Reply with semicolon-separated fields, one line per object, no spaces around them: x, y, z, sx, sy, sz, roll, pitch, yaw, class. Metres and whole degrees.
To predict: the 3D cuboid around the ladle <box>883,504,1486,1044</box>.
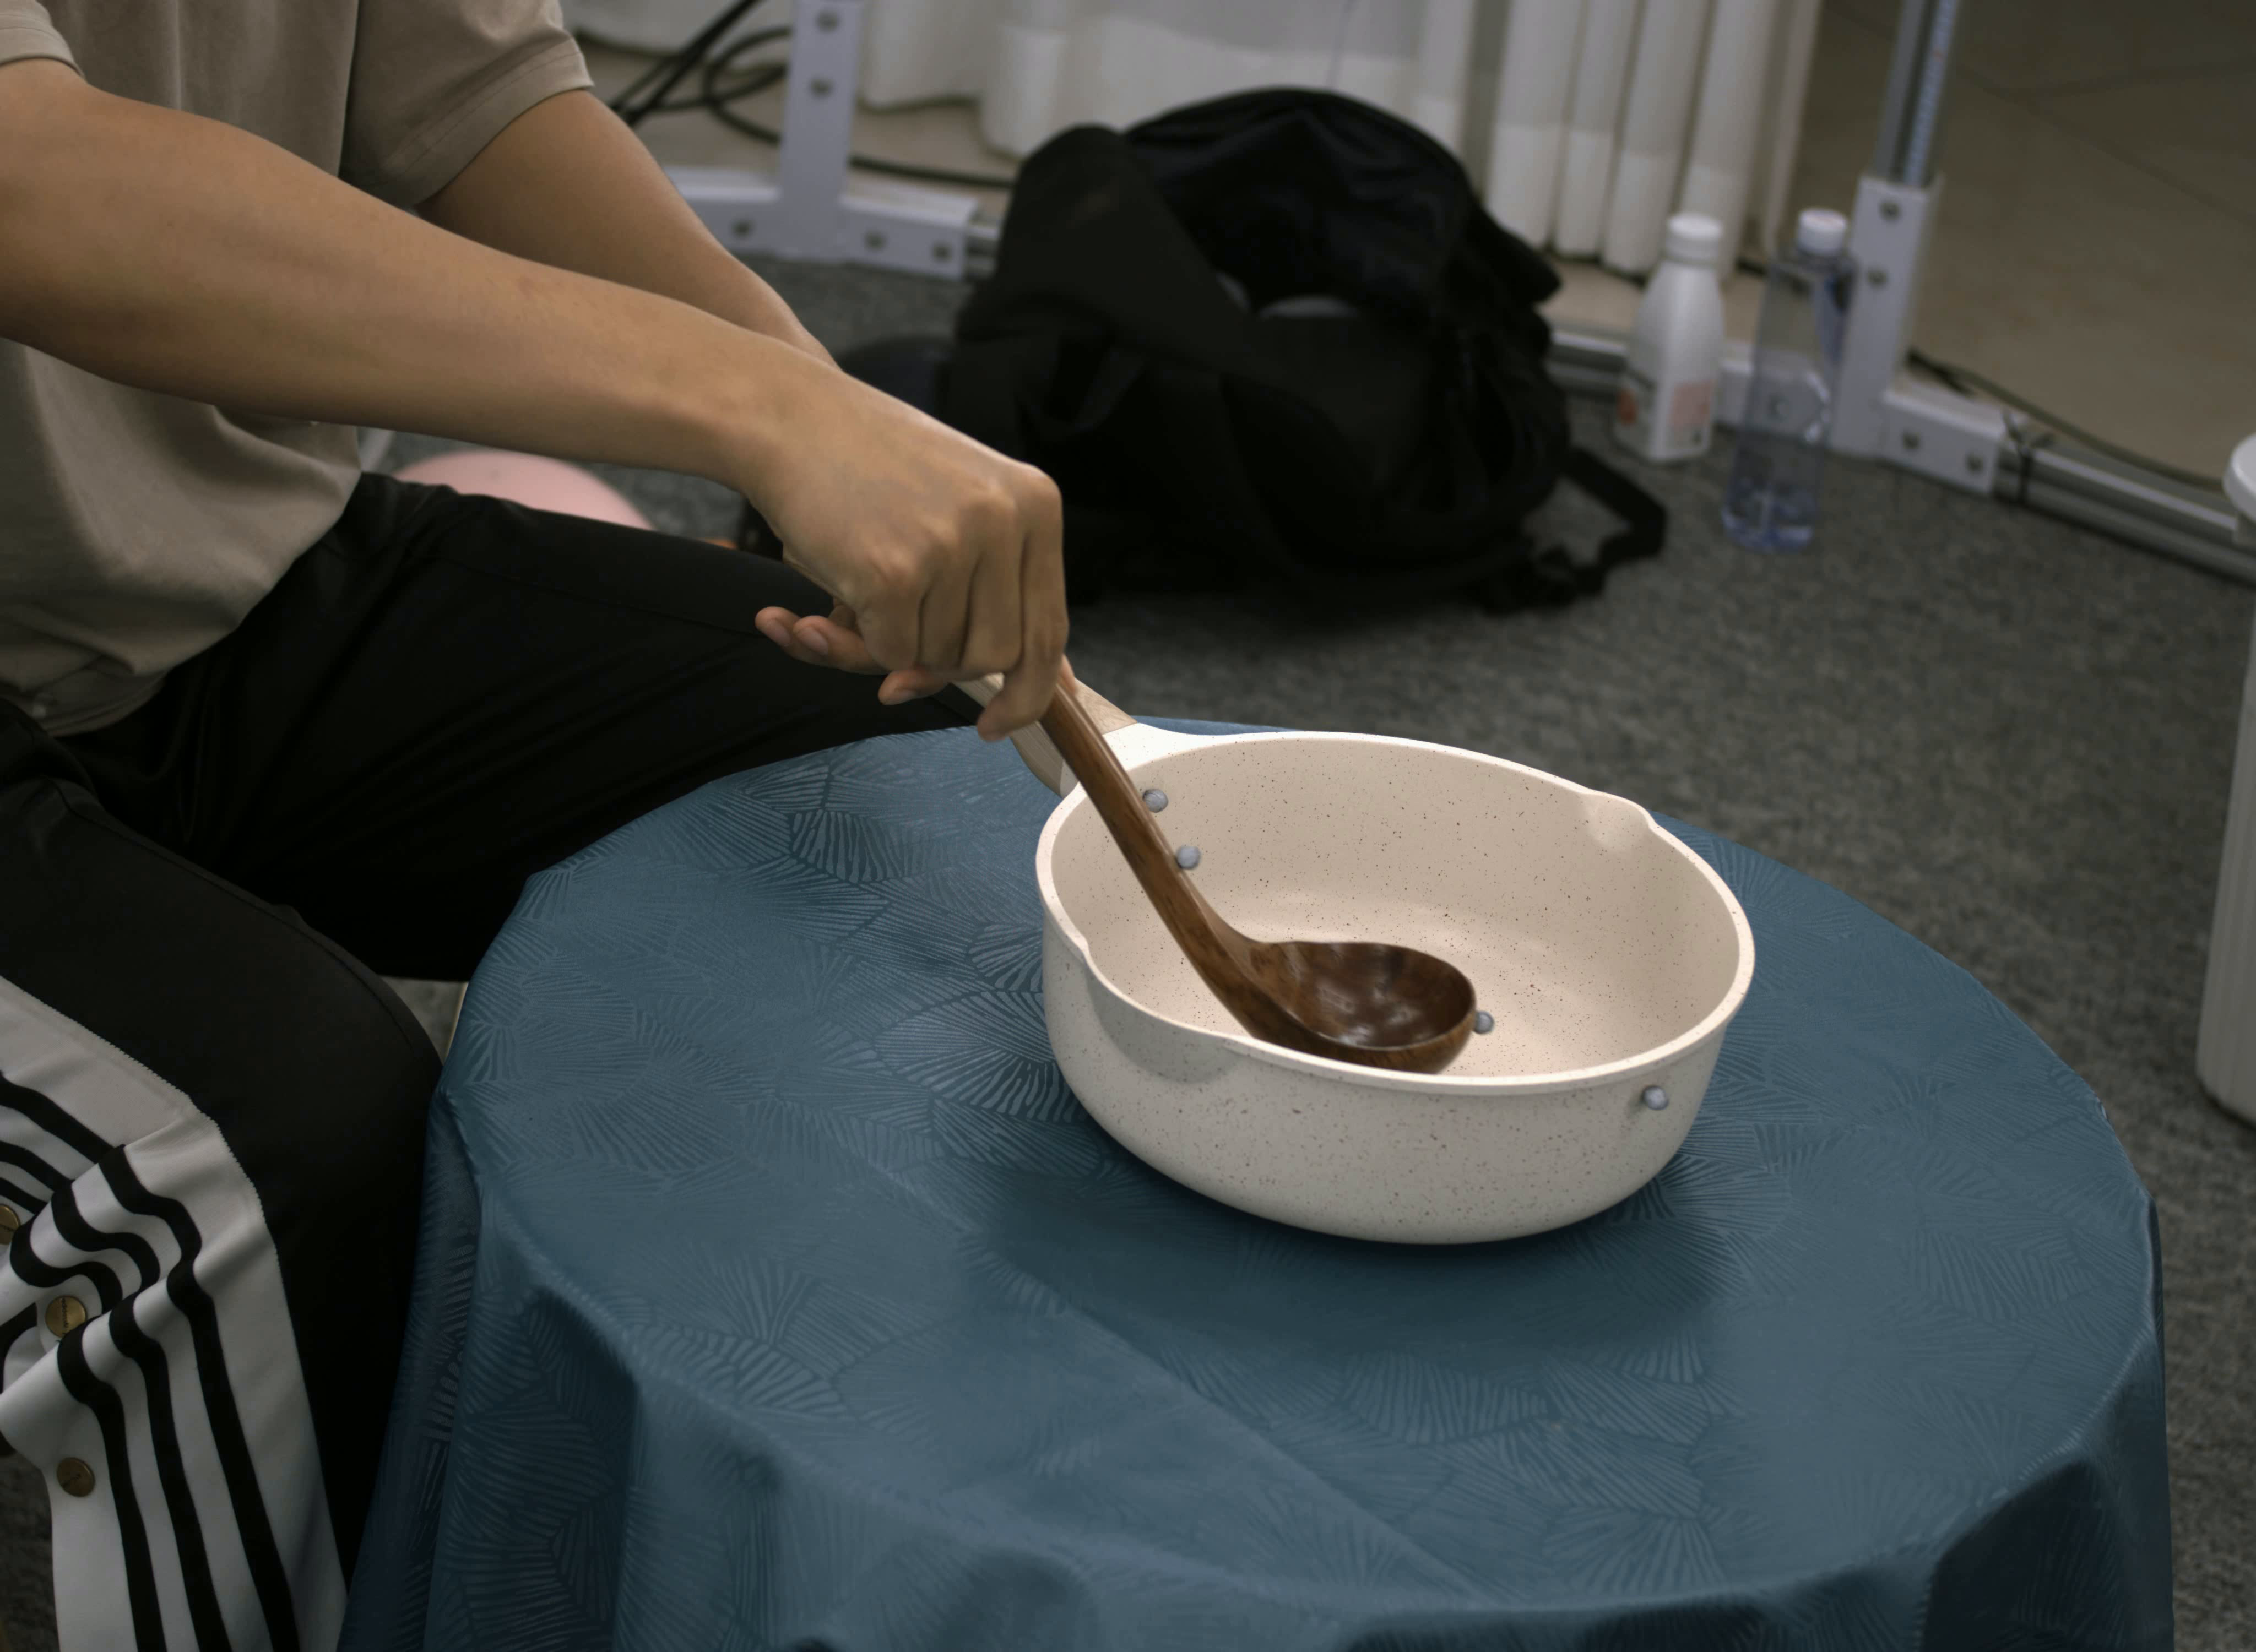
0.024;-0.015;1.773;0.076;0.272;0.082;-33;23;5;ladle

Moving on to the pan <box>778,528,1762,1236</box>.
0.026;0.015;1.914;0.438;0.101;0.262;29;36;36;pan
